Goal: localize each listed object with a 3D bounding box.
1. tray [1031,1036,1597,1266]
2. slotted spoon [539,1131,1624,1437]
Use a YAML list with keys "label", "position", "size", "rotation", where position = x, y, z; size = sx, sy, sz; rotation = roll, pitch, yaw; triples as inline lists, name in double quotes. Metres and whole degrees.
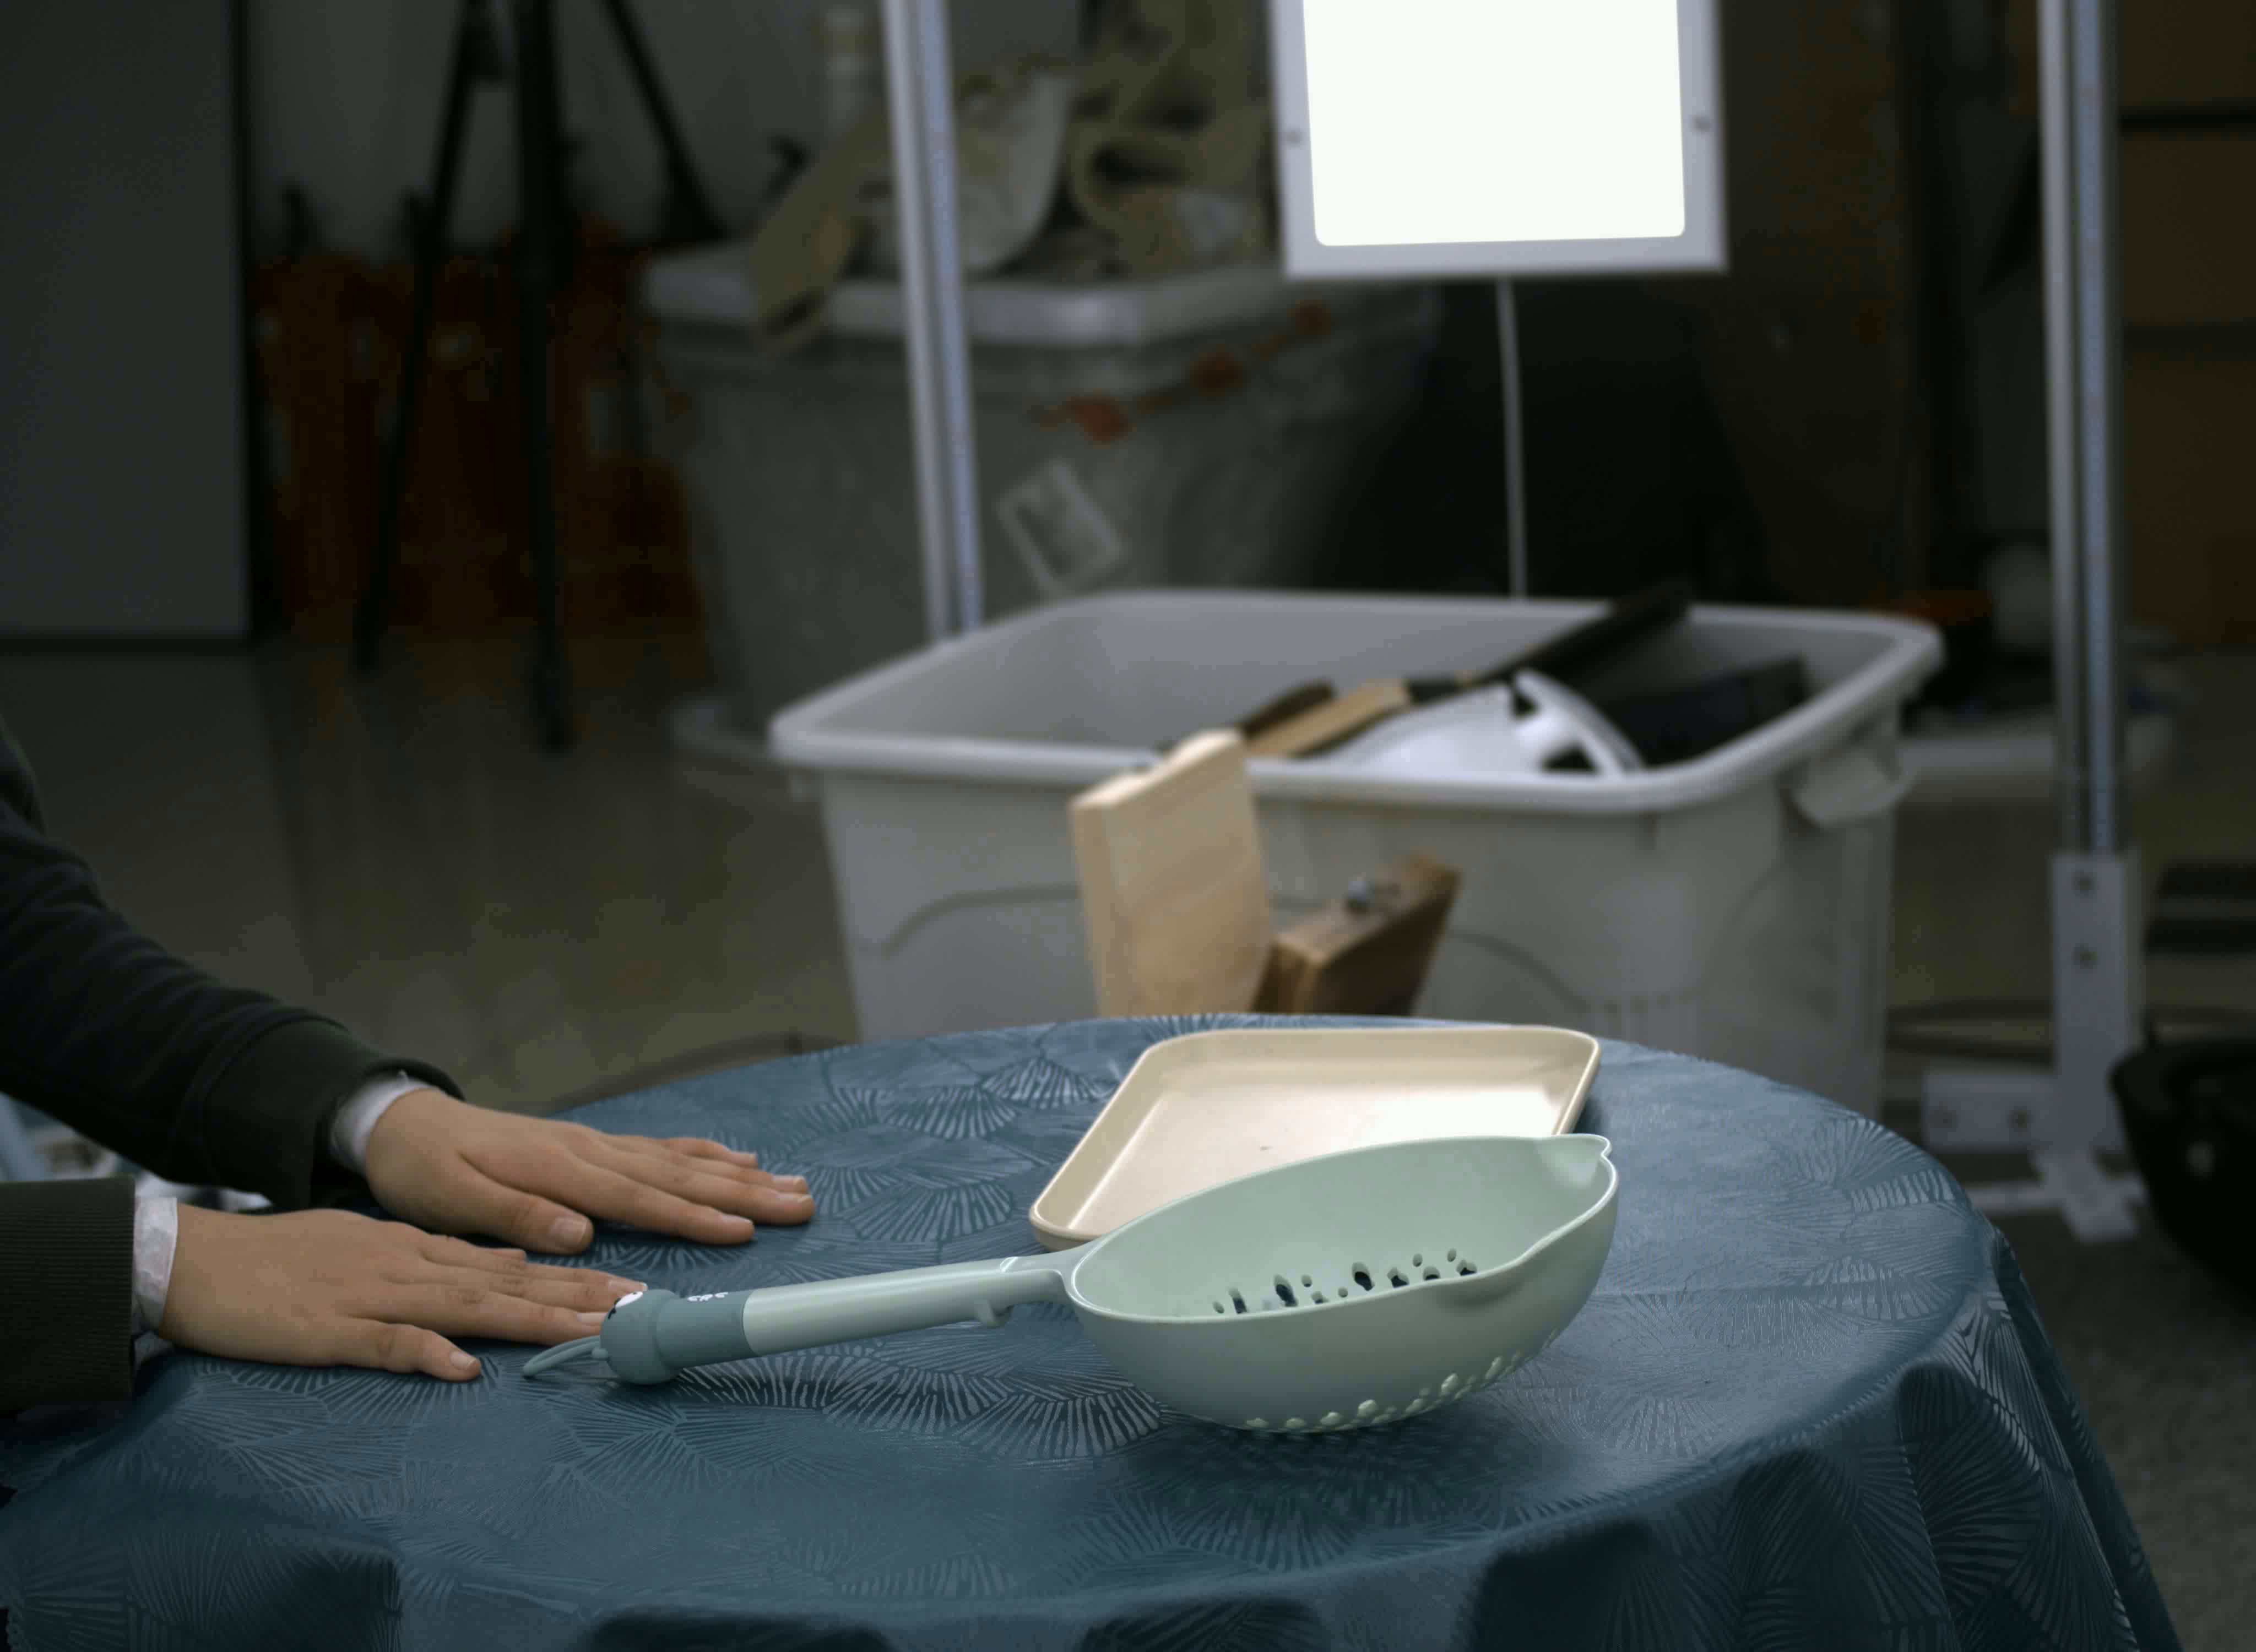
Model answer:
- label: "tray"
  position: [0.068, 0.112, 1.898]
  size: [0.173, 0.017, 0.236]
  rotation: [-1, 13, 14]
- label: "slotted spoon"
  position: [-0.022, 0.145, 1.696]
  size: [0.364, 0.075, 0.166]
  rotation: [0, 14, 21]
